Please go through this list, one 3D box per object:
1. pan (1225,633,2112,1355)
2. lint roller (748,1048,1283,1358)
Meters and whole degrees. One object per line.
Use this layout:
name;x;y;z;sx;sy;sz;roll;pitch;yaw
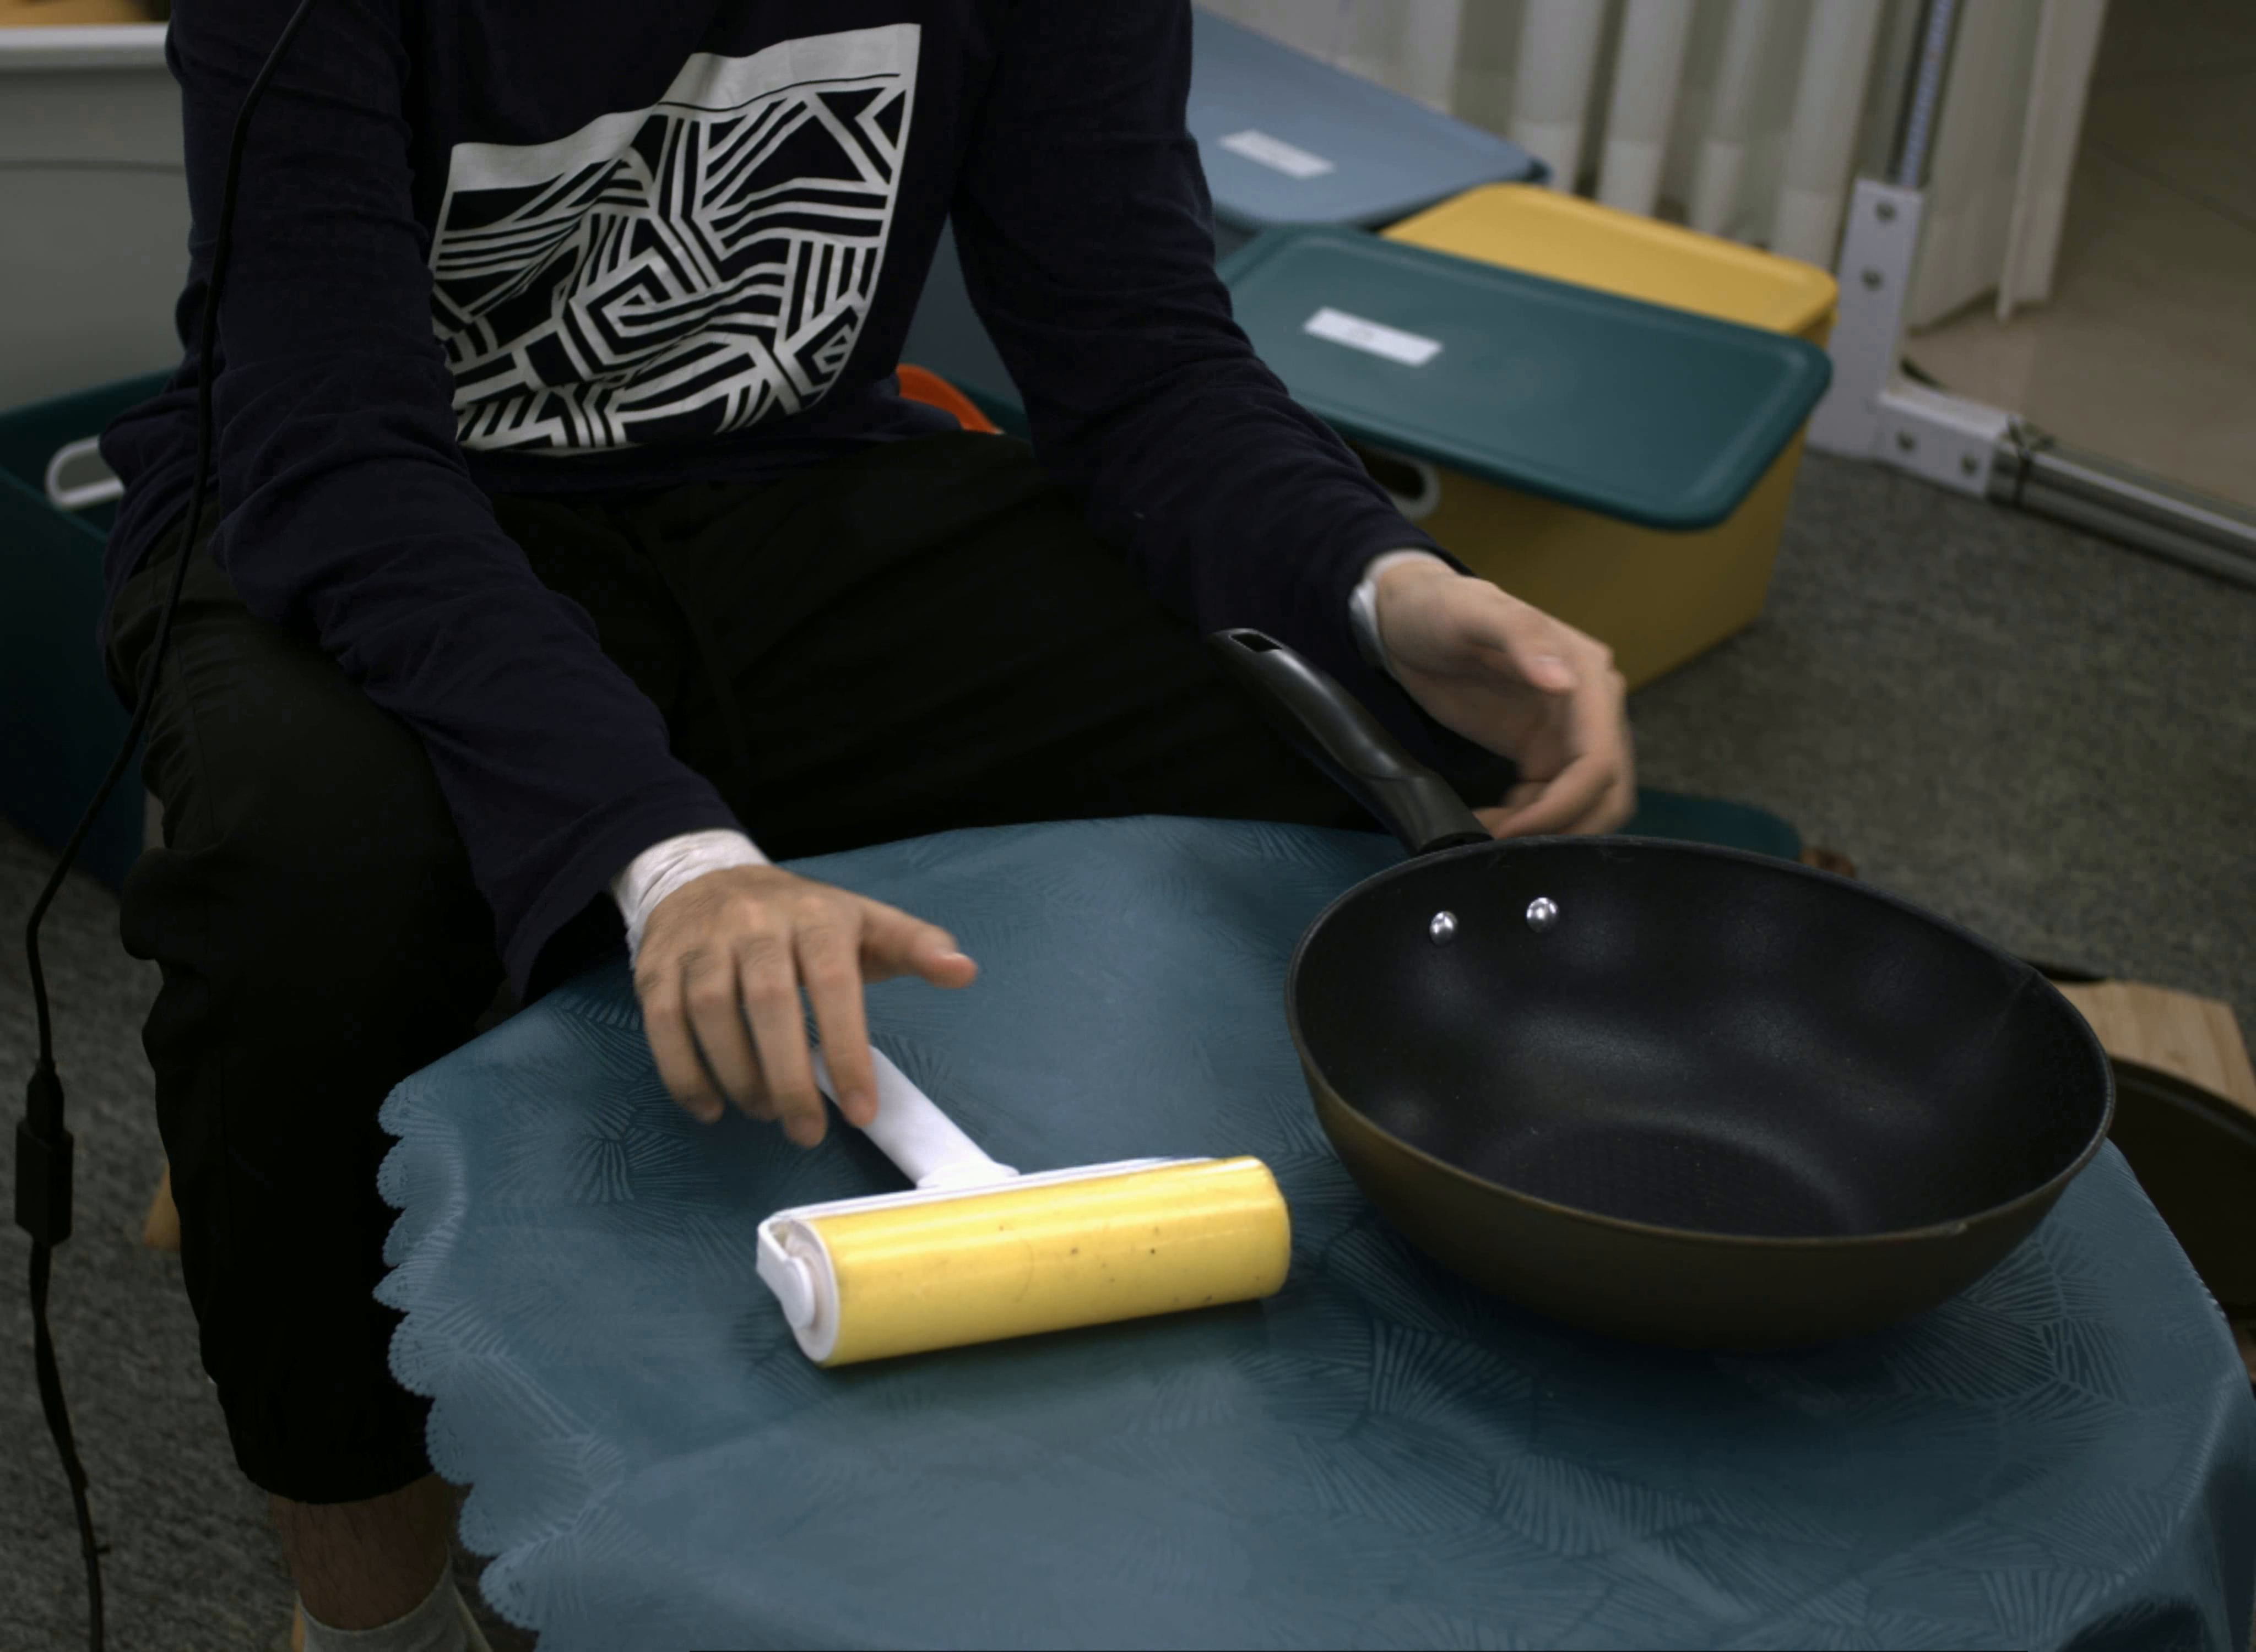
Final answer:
pan;0.142;0.061;1.870;0.286;0.086;0.467;-8;30;-28
lint roller;-0.063;0.107;1.771;0.173;0.051;0.194;-6;30;-25
